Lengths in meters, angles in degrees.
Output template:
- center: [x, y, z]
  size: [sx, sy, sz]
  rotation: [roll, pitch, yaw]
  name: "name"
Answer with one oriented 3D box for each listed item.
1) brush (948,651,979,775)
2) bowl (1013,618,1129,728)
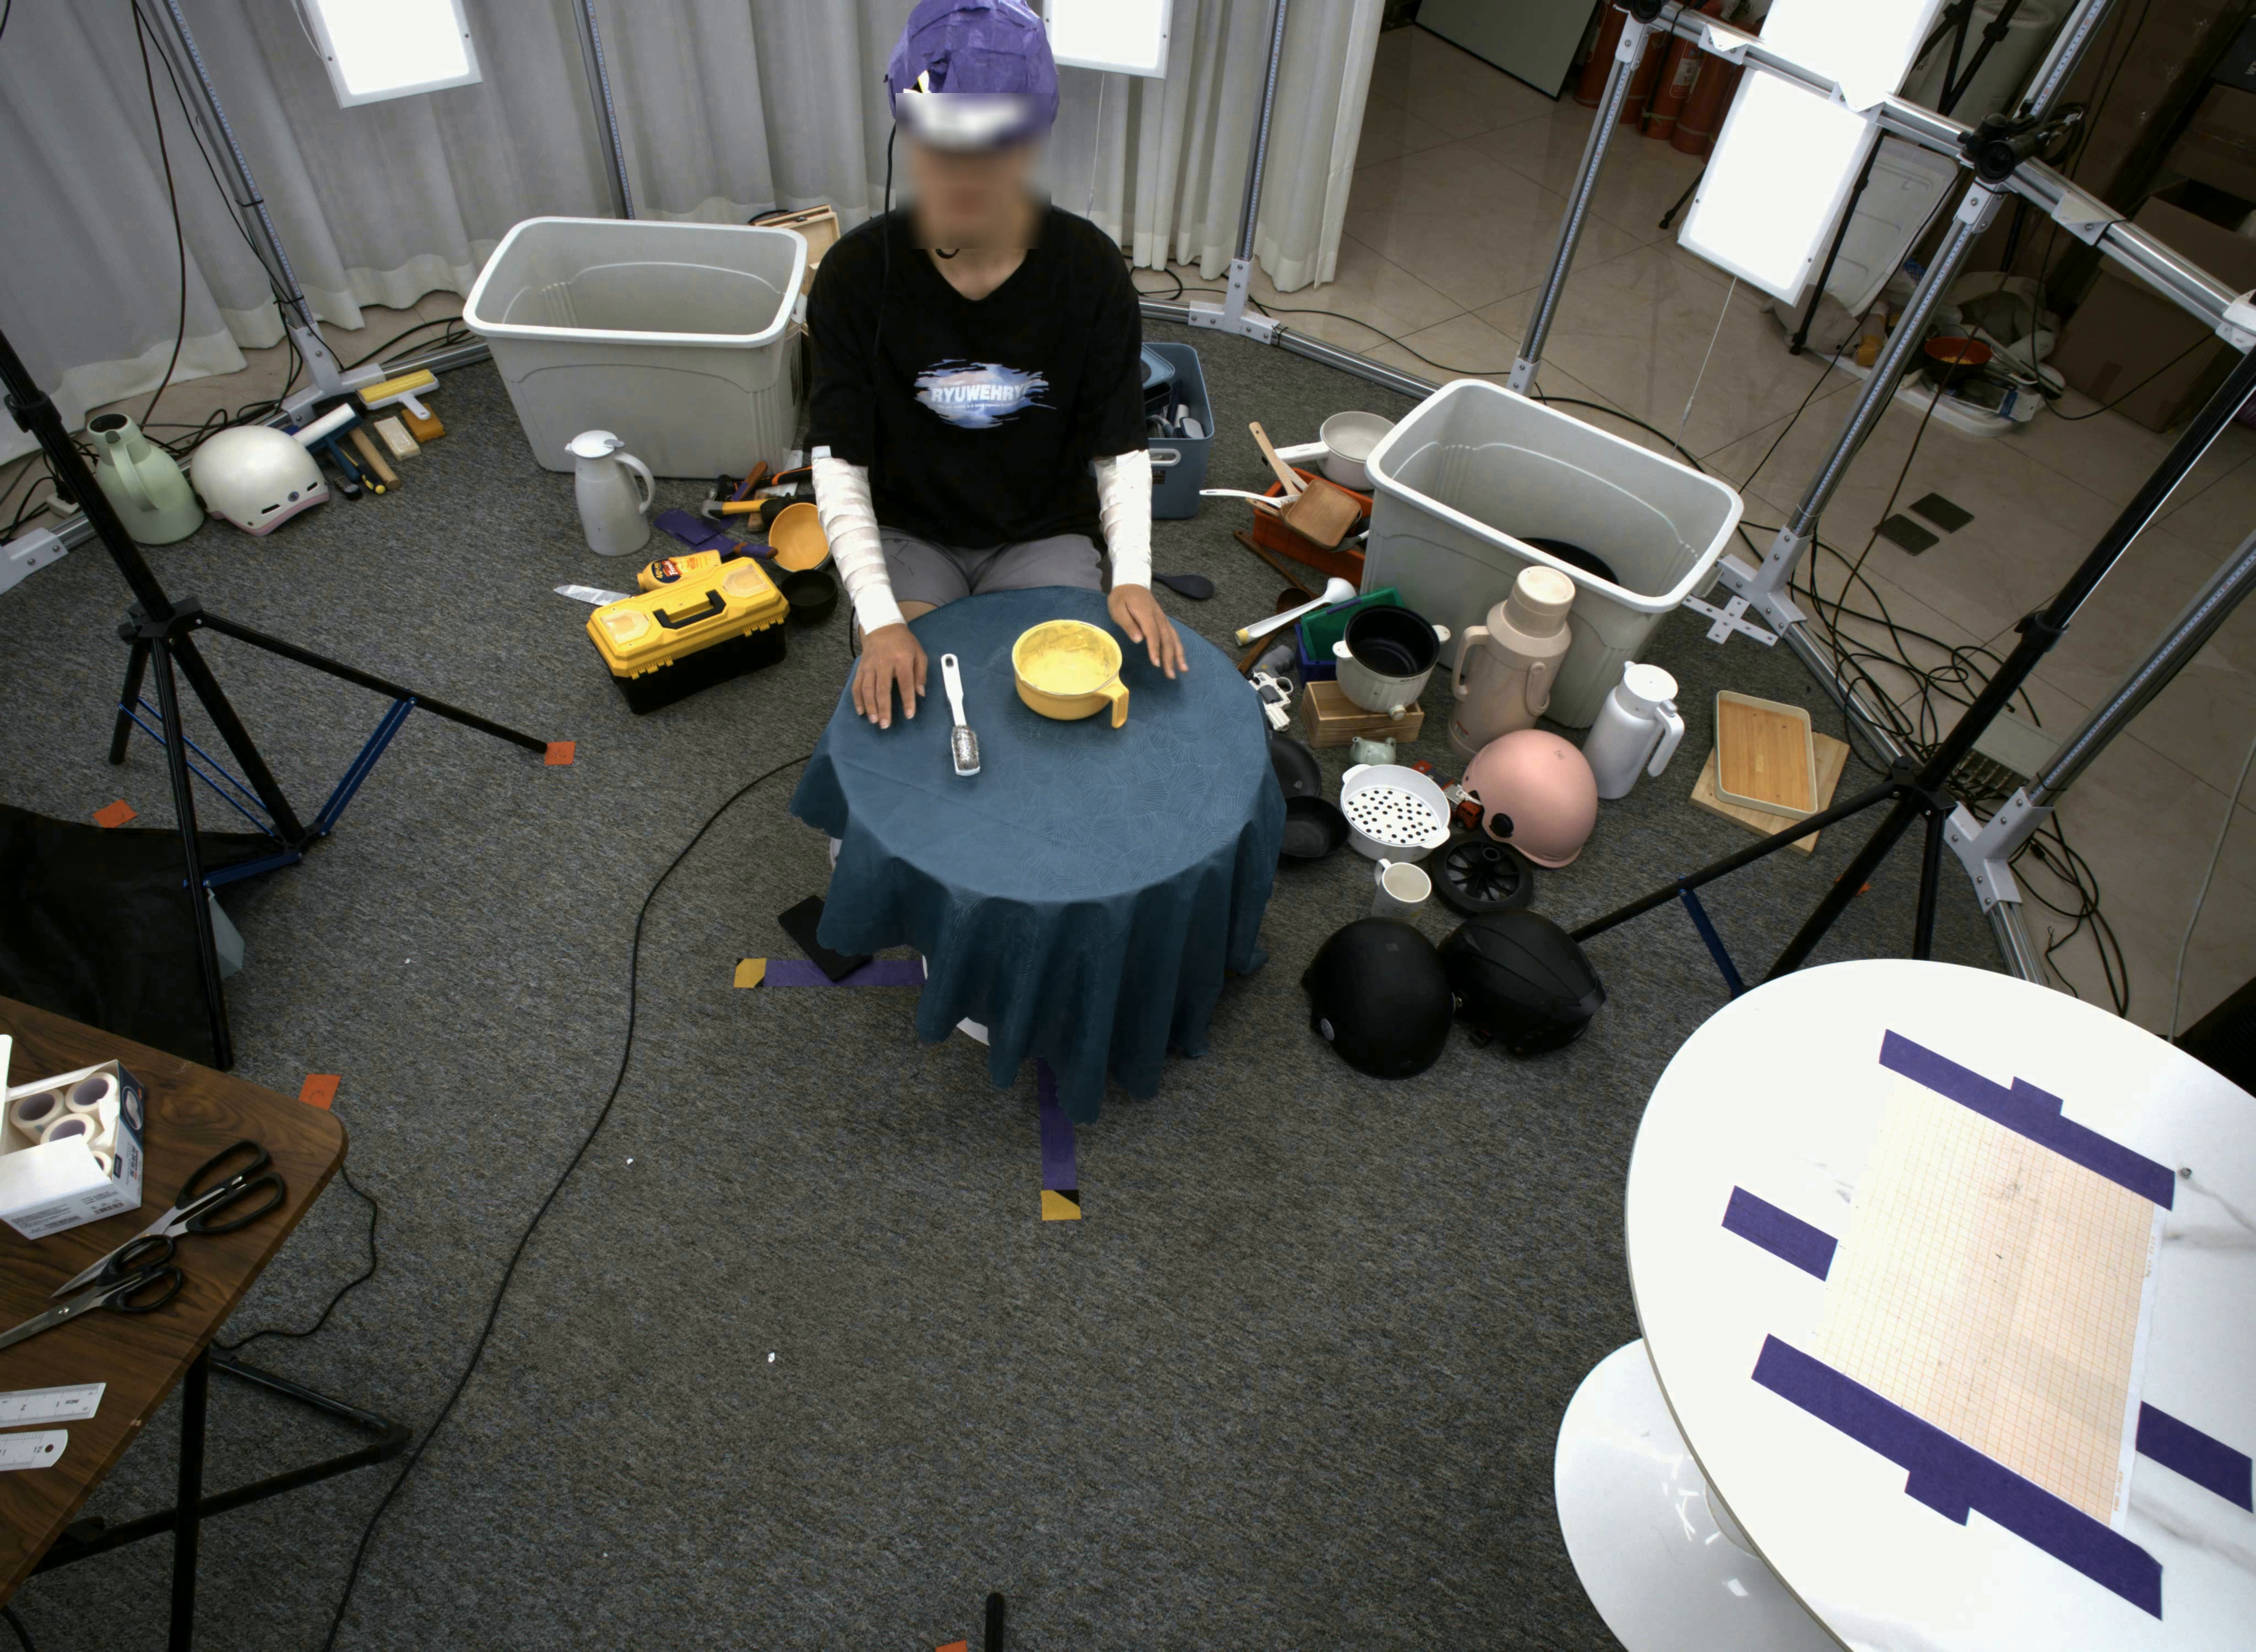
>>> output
- center: [-0.230, -0.169, 1.772]
  size: [0.034, 0.049, 0.250]
  rotation: [-5, 51, -7]
  name: "brush"
- center: [-0.076, -0.210, 1.805]
  size: [0.181, 0.072, 0.155]
  rotation: [33, 51, 21]
  name: "bowl"
